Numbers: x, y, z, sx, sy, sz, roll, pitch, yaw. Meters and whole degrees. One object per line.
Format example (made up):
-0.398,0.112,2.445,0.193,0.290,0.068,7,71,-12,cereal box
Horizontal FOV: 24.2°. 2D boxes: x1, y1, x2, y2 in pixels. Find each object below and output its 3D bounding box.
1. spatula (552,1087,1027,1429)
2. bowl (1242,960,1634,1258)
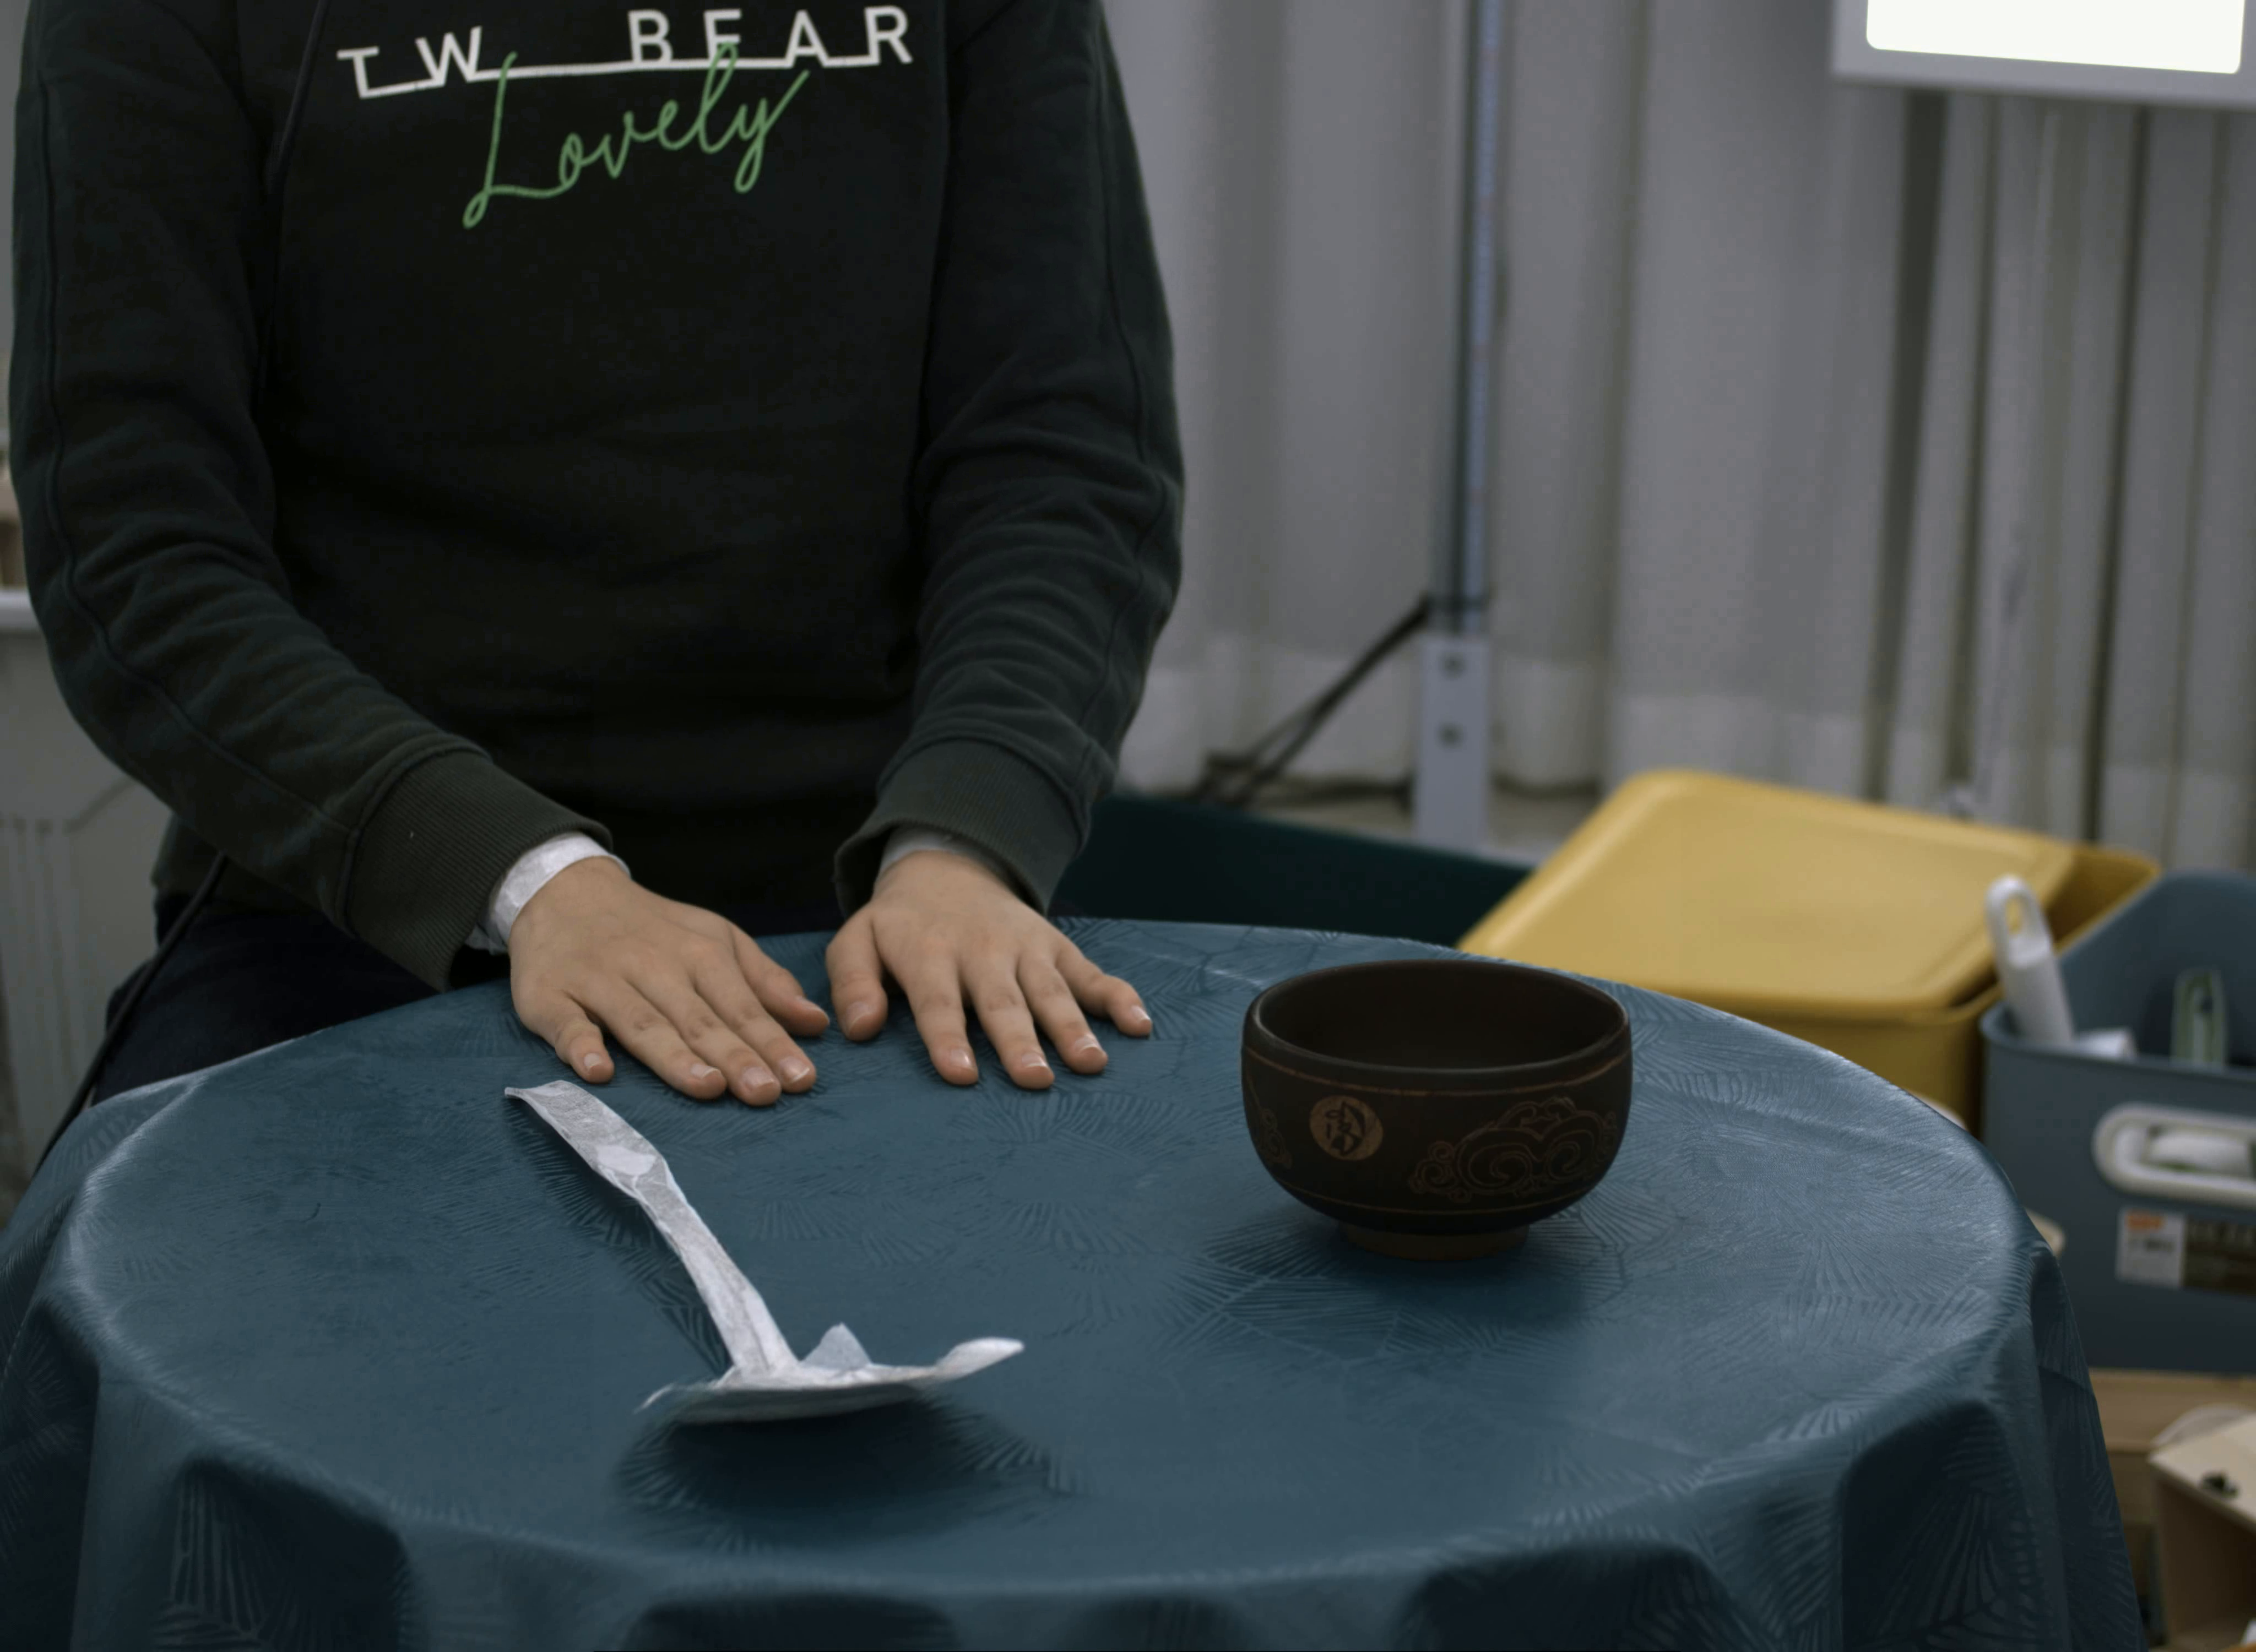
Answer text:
-0.124,0.116,1.536,0.099,0.045,0.361,-7,18,-18,spatula
0.093,0.088,1.585,0.117,0.070,0.117,1,14,0,bowl
